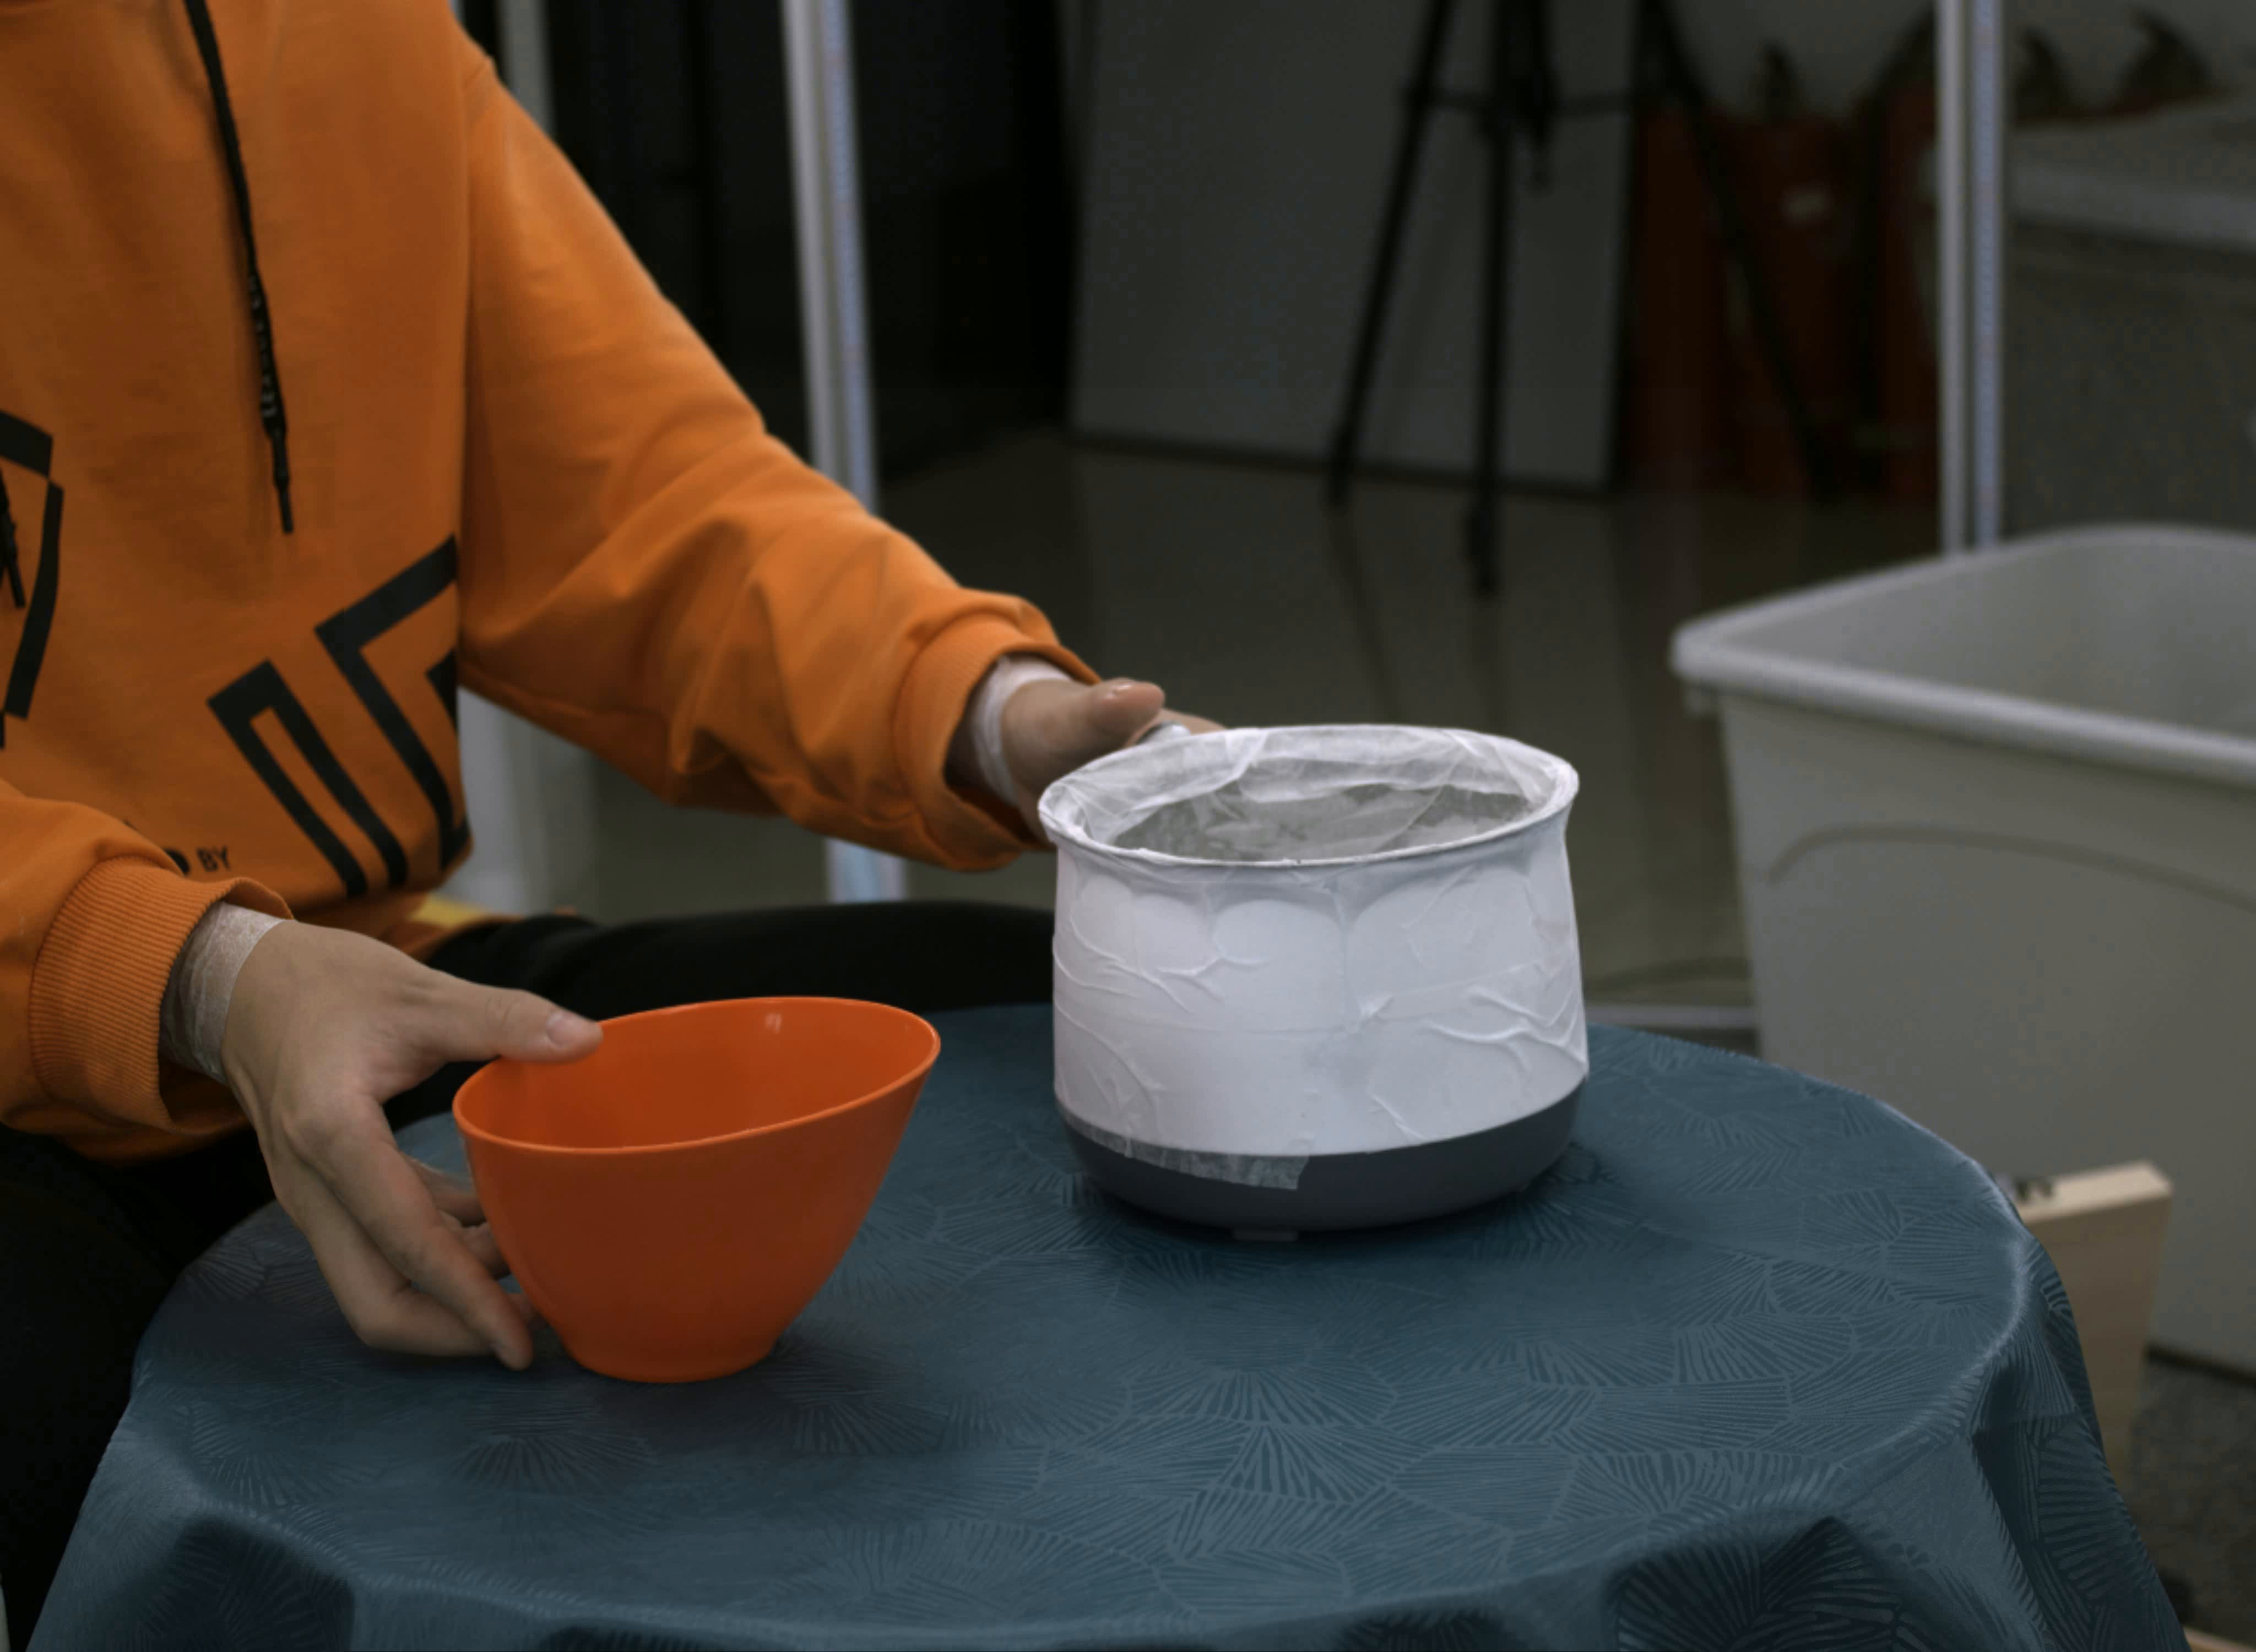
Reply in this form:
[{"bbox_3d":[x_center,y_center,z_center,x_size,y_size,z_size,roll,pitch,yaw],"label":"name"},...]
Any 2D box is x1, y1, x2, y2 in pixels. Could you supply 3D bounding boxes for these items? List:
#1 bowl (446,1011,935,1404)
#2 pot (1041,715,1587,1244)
[{"bbox_3d":[-0.131,0.115,1.625,0.146,0.106,0.148,0,18,-1],"label":"bowl"},{"bbox_3d":[0.048,0.044,1.781,0.175,0.138,0.236,-10,15,-26],"label":"pot"}]
